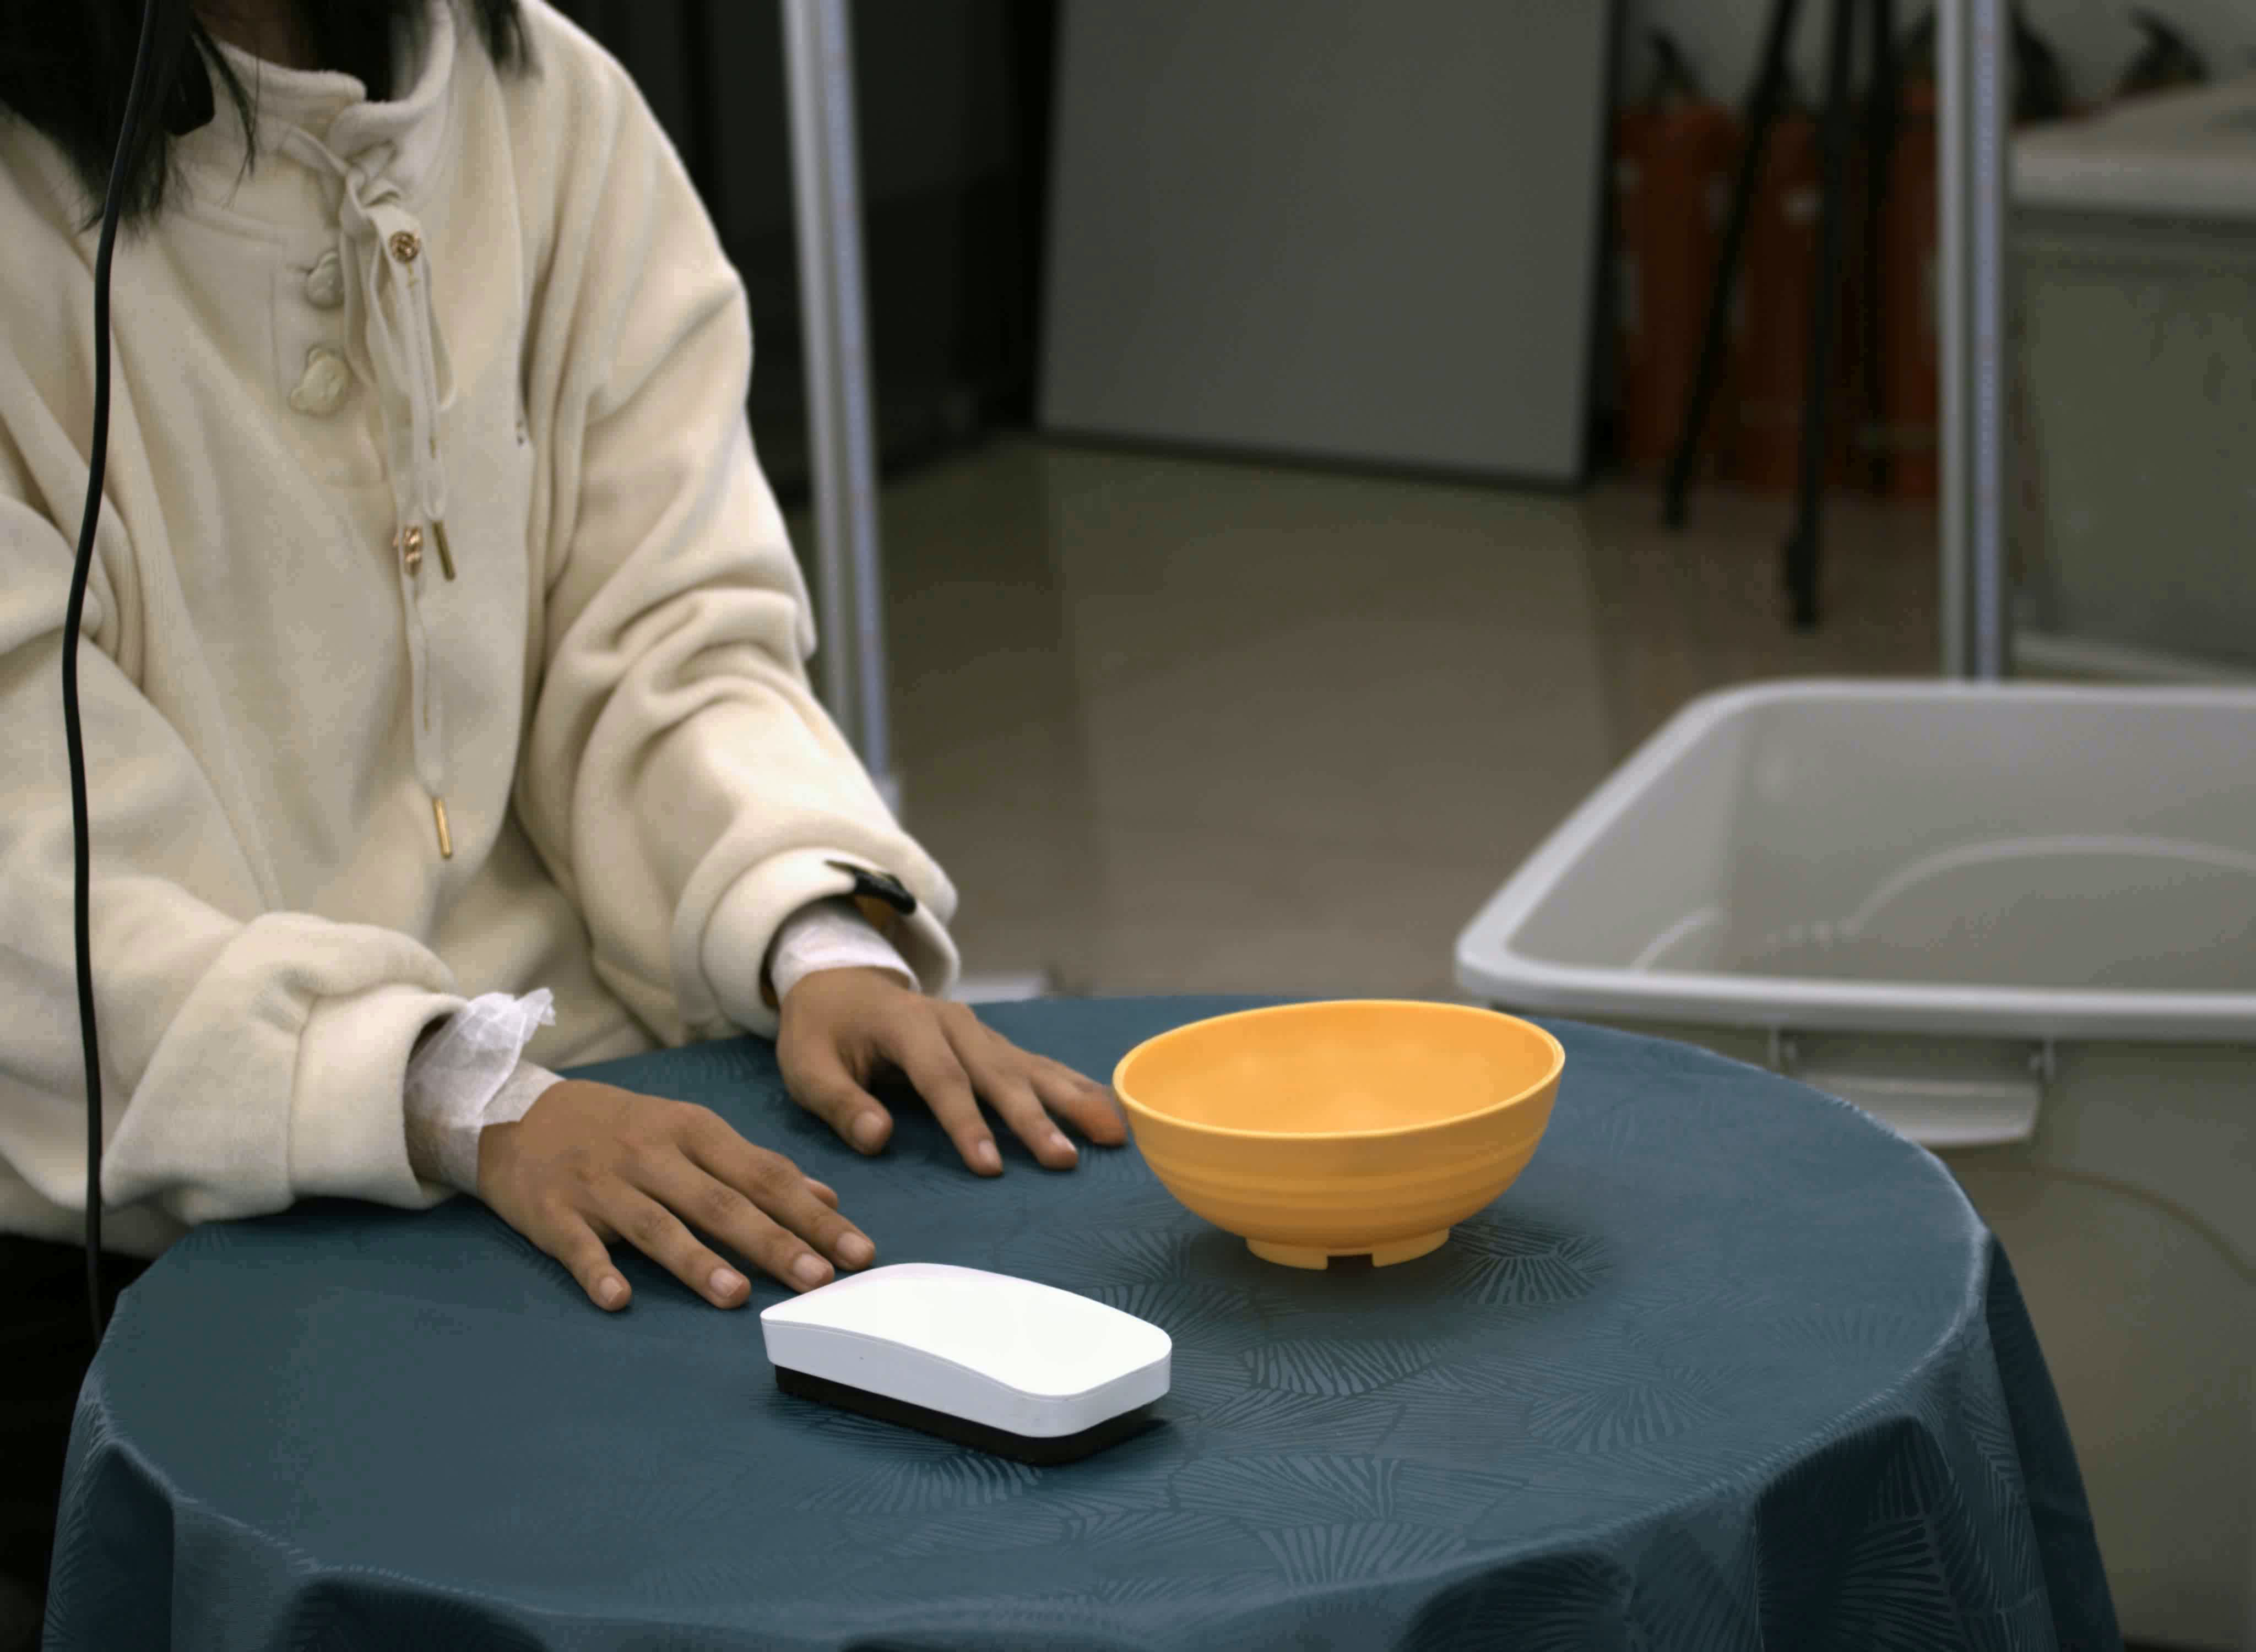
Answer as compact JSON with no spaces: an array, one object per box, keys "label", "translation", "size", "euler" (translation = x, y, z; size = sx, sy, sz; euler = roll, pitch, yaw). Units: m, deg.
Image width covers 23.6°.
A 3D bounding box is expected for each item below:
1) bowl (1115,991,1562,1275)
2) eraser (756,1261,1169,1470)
[{"label":"bowl","translation":[0.068,0.102,1.704],"size":[0.143,0.061,0.145],"euler":[-3,16,0]},{"label":"eraser","translation":[-0.048,0.155,1.581],"size":[0.132,0.035,0.062],"euler":[11,18,44]}]
